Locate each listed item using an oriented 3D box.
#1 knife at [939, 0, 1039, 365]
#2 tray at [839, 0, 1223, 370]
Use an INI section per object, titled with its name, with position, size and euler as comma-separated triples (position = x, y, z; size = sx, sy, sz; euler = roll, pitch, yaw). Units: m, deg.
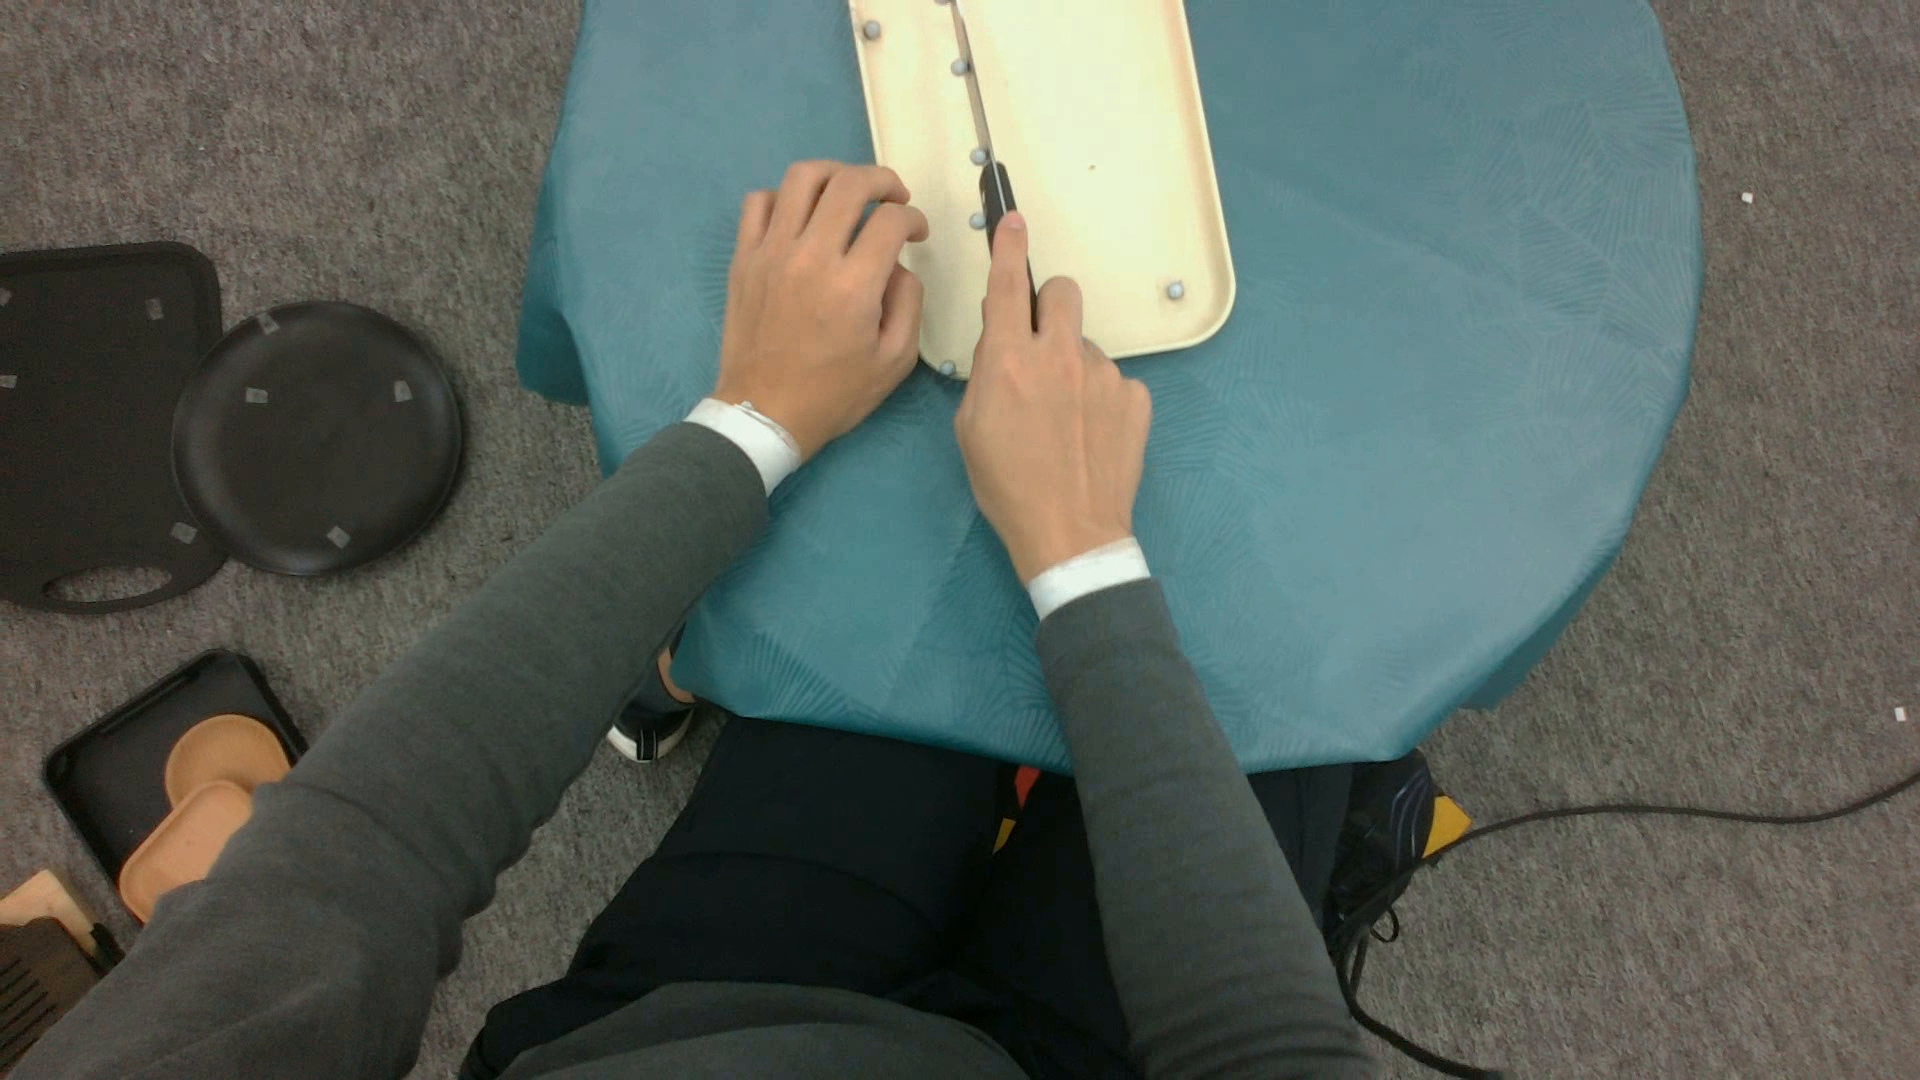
[knife]
position = 0.008, -0.196, 0.672
size = 0.016, 0.024, 0.238
euler = -11, 74, -5
[tray]
position = 0.035, -0.209, 0.707
size = 0.171, 0.017, 0.240
euler = -9, 83, -6
